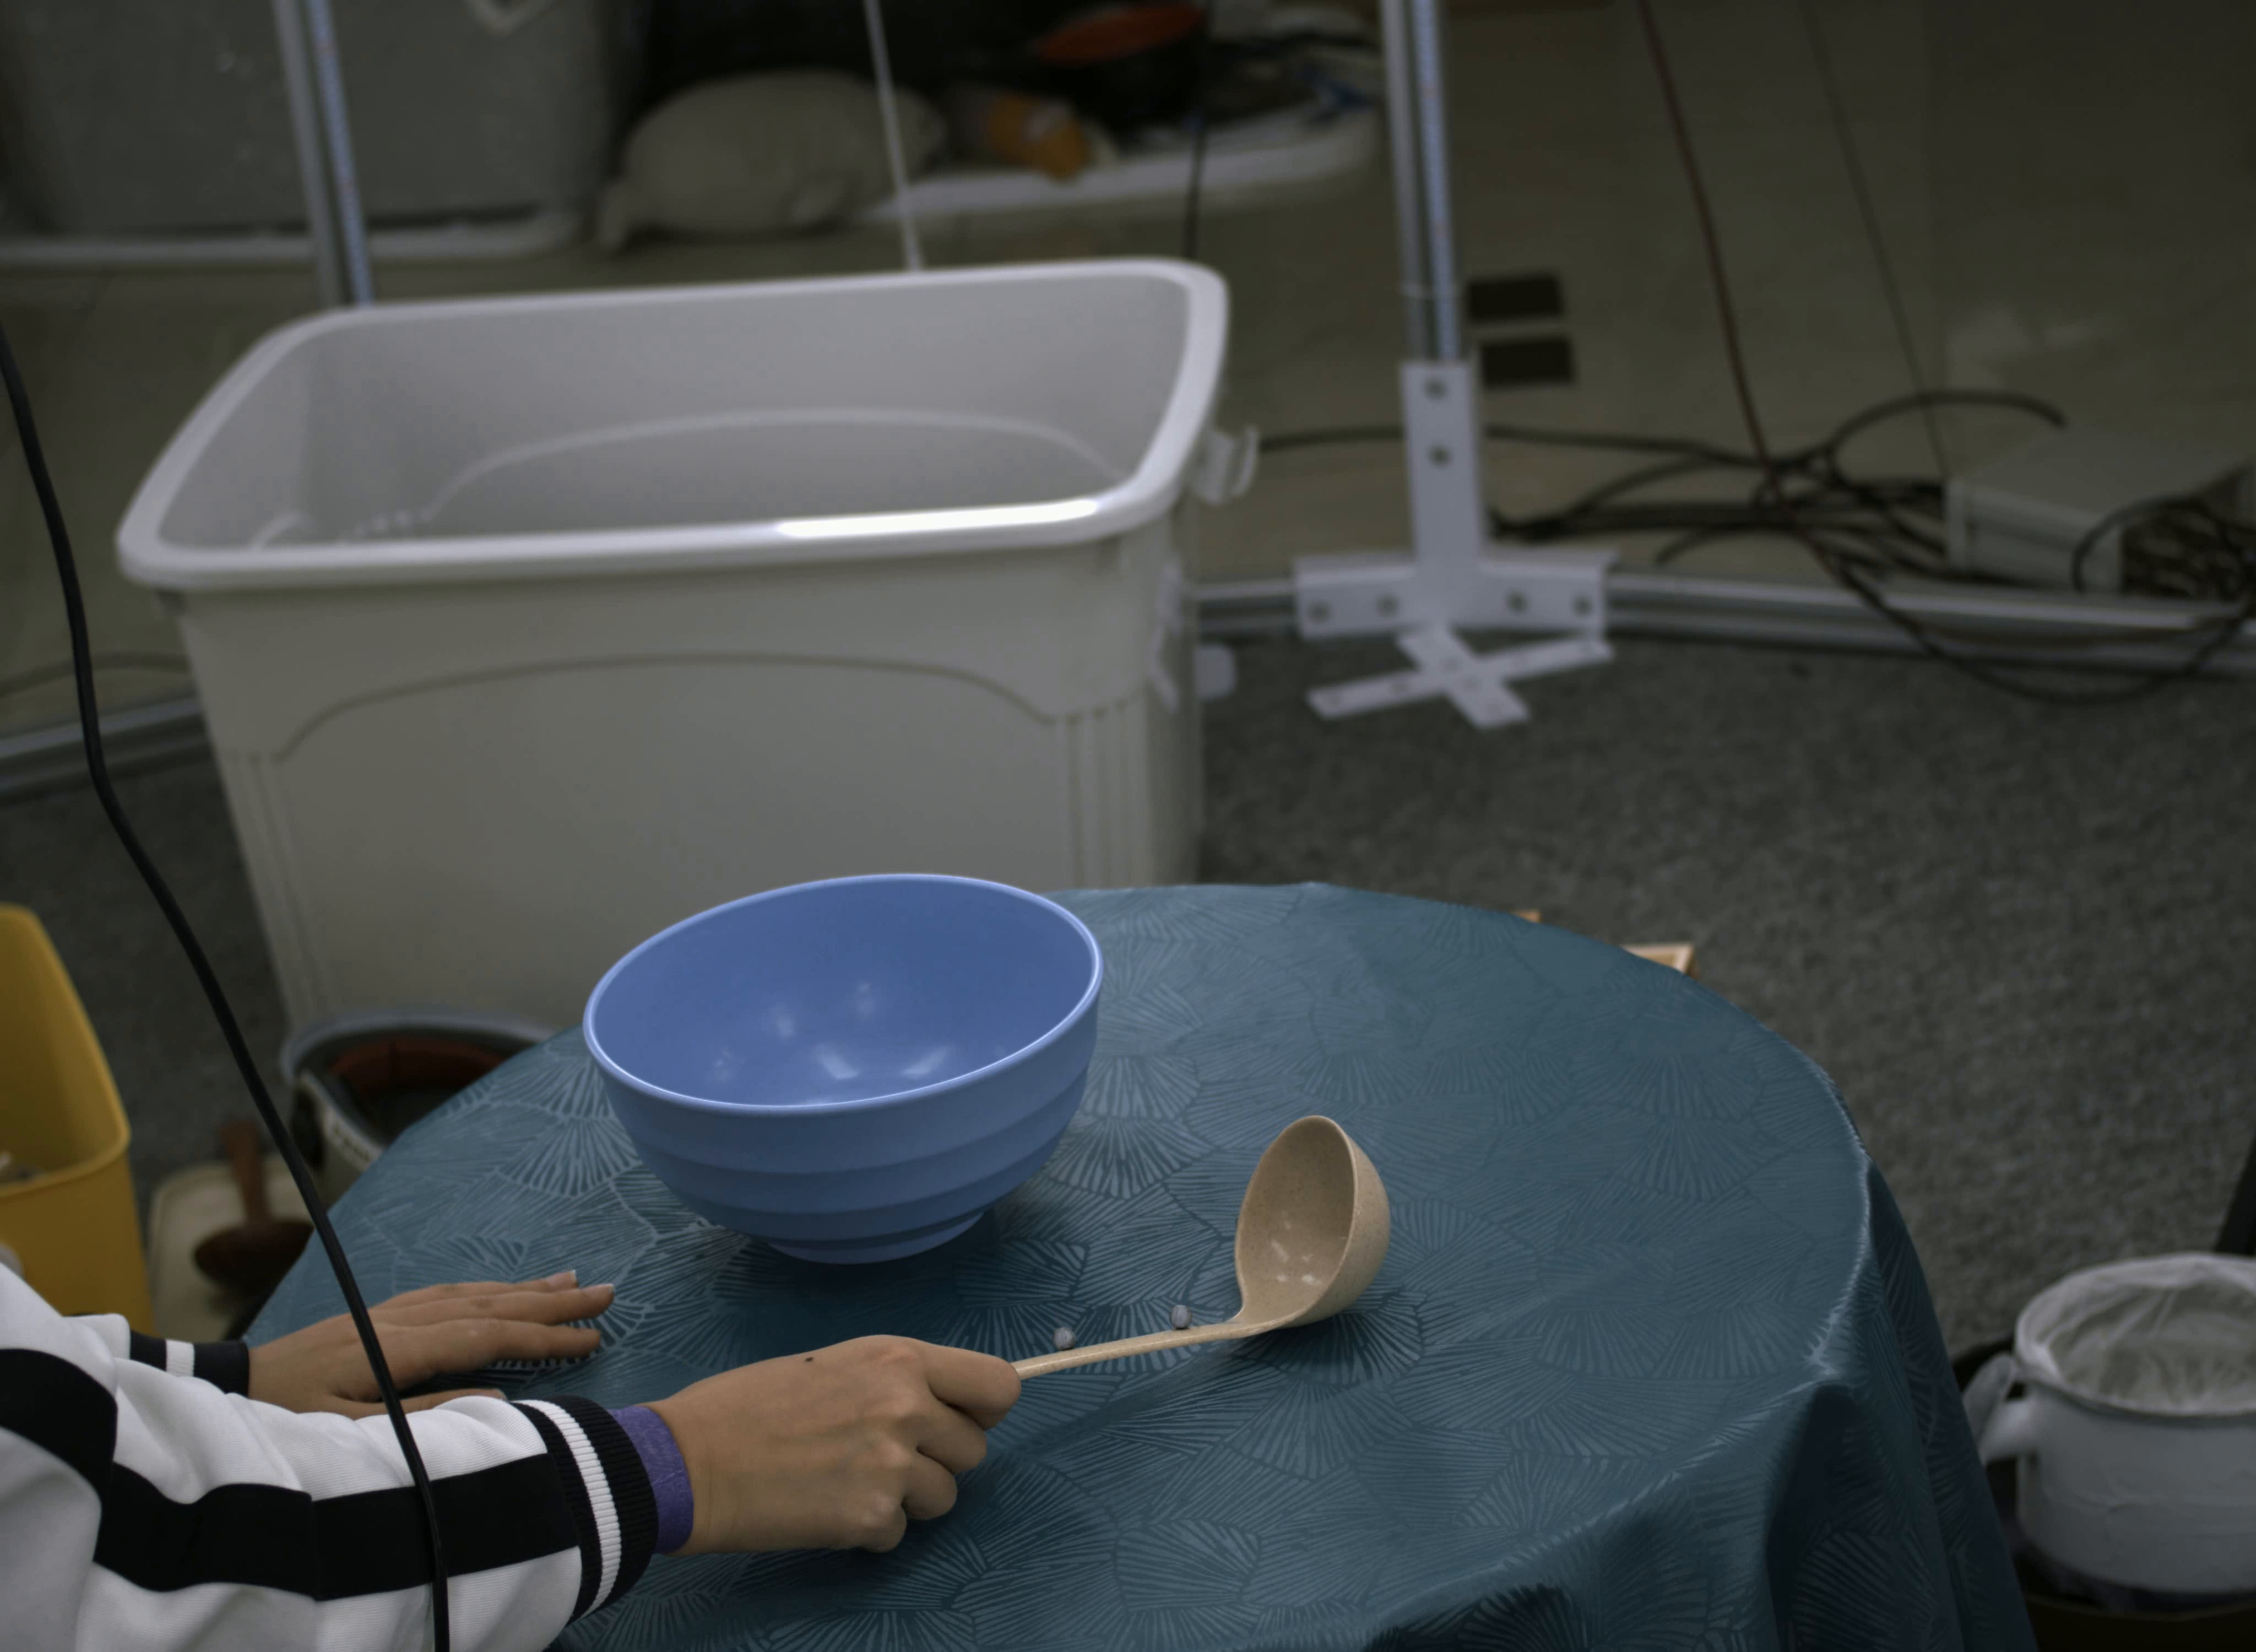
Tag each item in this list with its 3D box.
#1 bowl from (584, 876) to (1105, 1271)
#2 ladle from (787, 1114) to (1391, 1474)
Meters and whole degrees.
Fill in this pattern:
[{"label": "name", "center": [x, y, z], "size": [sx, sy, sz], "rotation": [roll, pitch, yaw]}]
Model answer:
[{"label": "bowl", "center": [-0.102, 0.105, 2.140], "size": [0.196, 0.097, 0.193], "rotation": [-4, 26, 2]}, {"label": "ladle", "center": [-0.018, 0.160, 1.985], "size": [0.253, 0.073, 0.072], "rotation": [-13, 8, -35]}]
